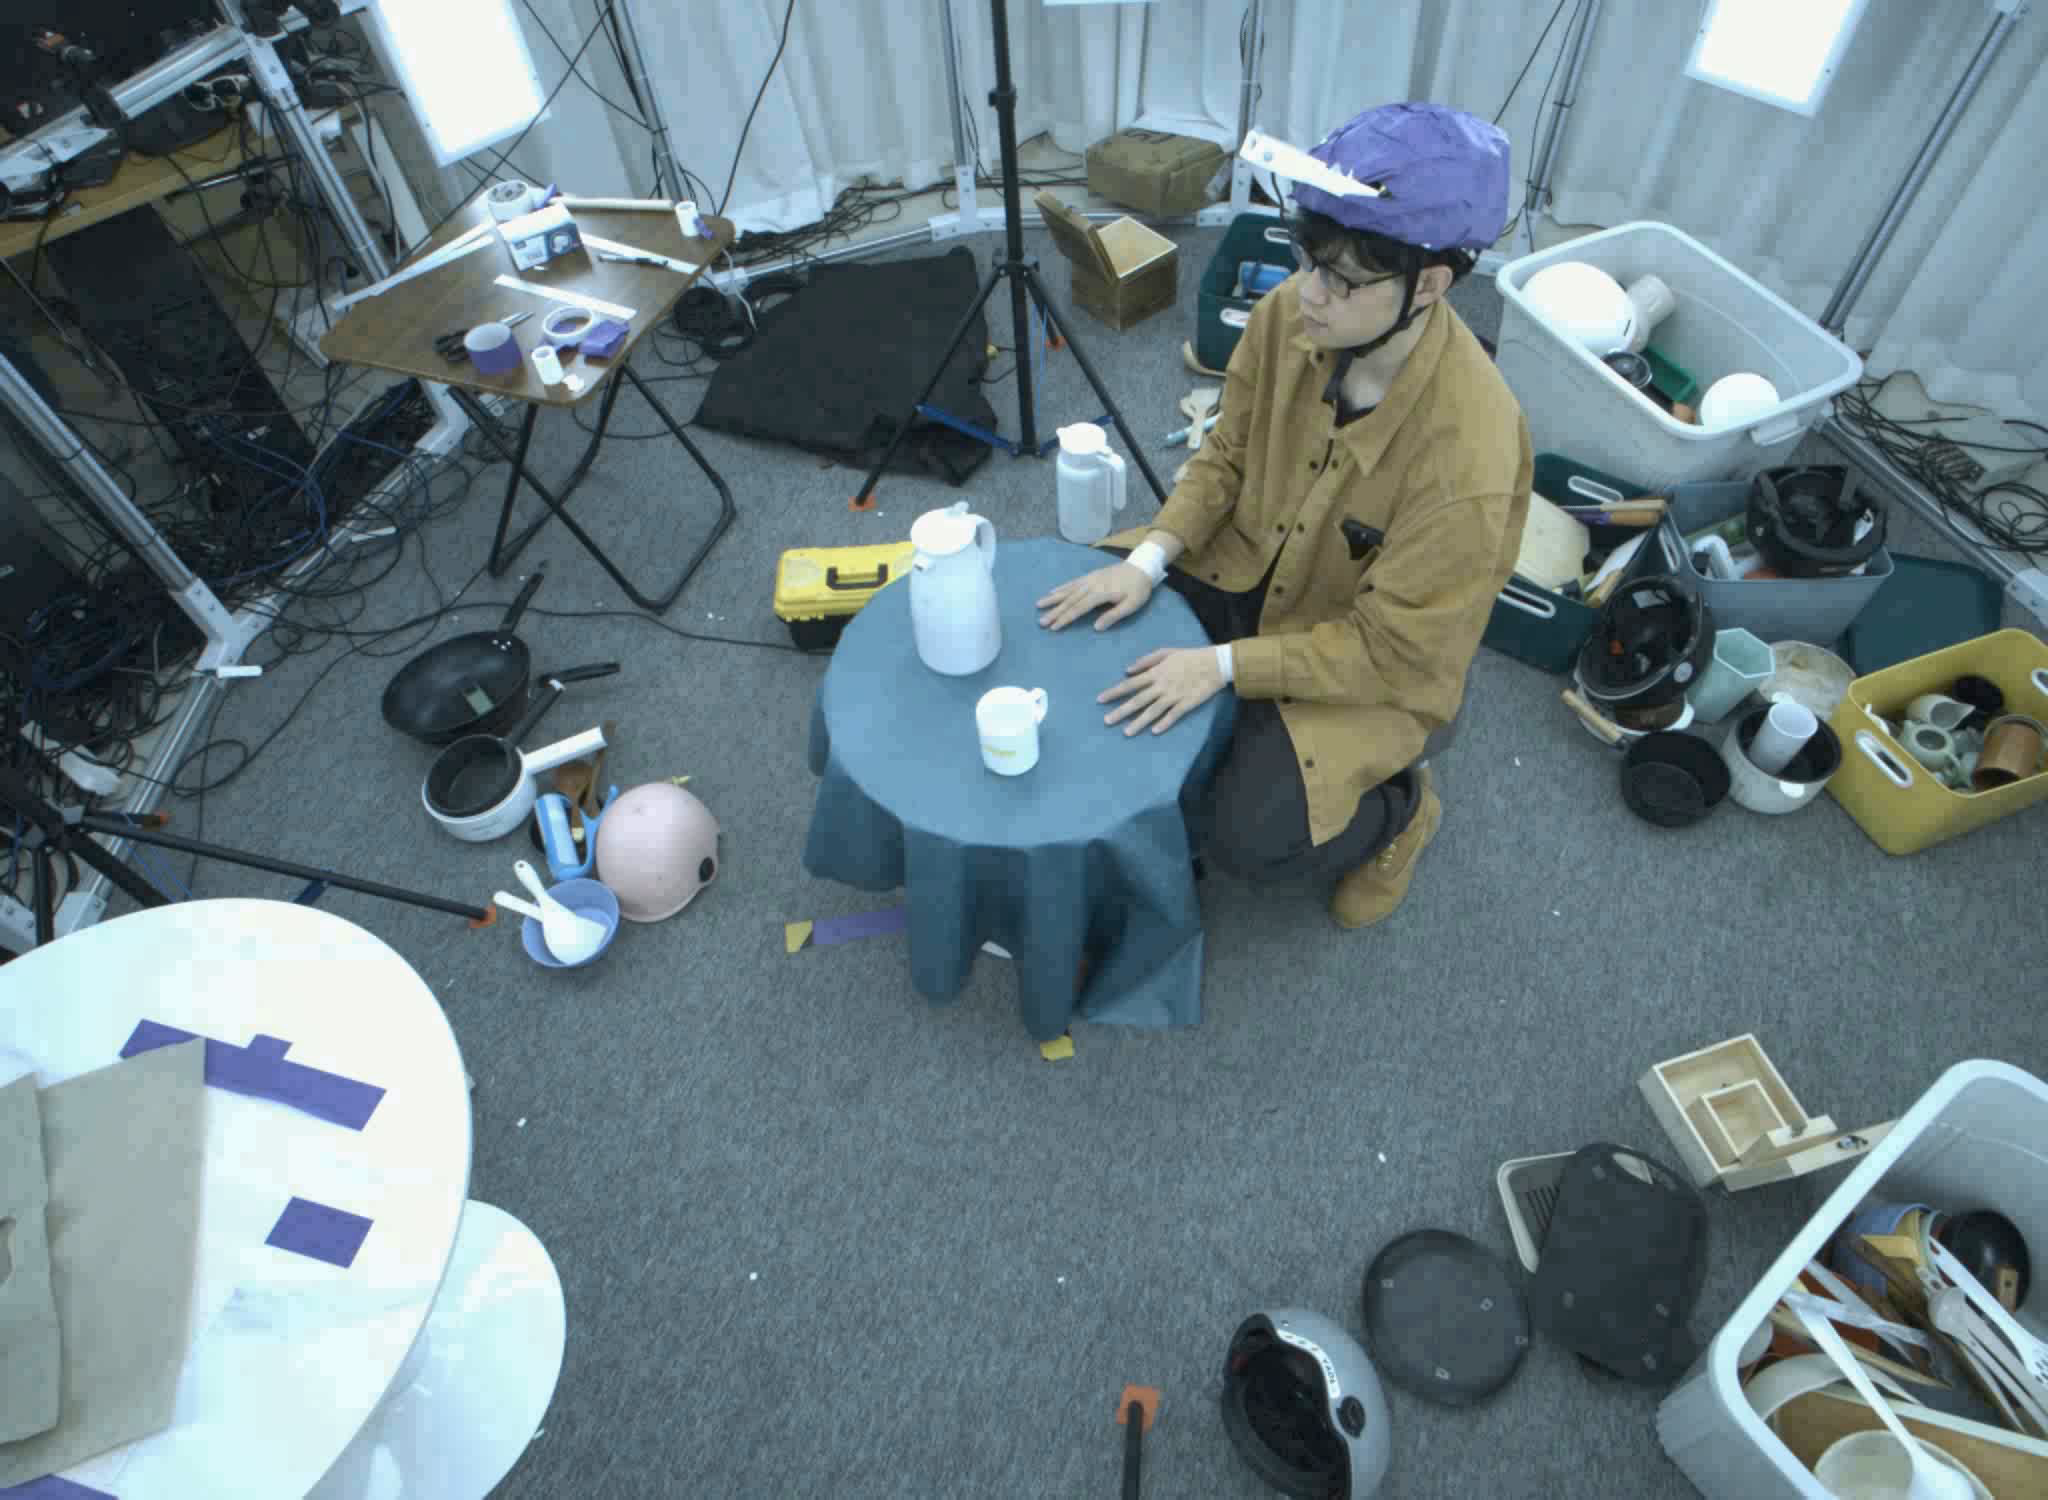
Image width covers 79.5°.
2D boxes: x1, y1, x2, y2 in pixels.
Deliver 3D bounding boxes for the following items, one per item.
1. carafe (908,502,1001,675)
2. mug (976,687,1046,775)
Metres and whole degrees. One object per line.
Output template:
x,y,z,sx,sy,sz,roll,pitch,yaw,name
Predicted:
-0.100,-0.252,1.813,0.130,0.251,0.168,25,59,21,carafe
-0.012,-0.036,1.745,0.083,0.103,0.119,33,62,23,mug
